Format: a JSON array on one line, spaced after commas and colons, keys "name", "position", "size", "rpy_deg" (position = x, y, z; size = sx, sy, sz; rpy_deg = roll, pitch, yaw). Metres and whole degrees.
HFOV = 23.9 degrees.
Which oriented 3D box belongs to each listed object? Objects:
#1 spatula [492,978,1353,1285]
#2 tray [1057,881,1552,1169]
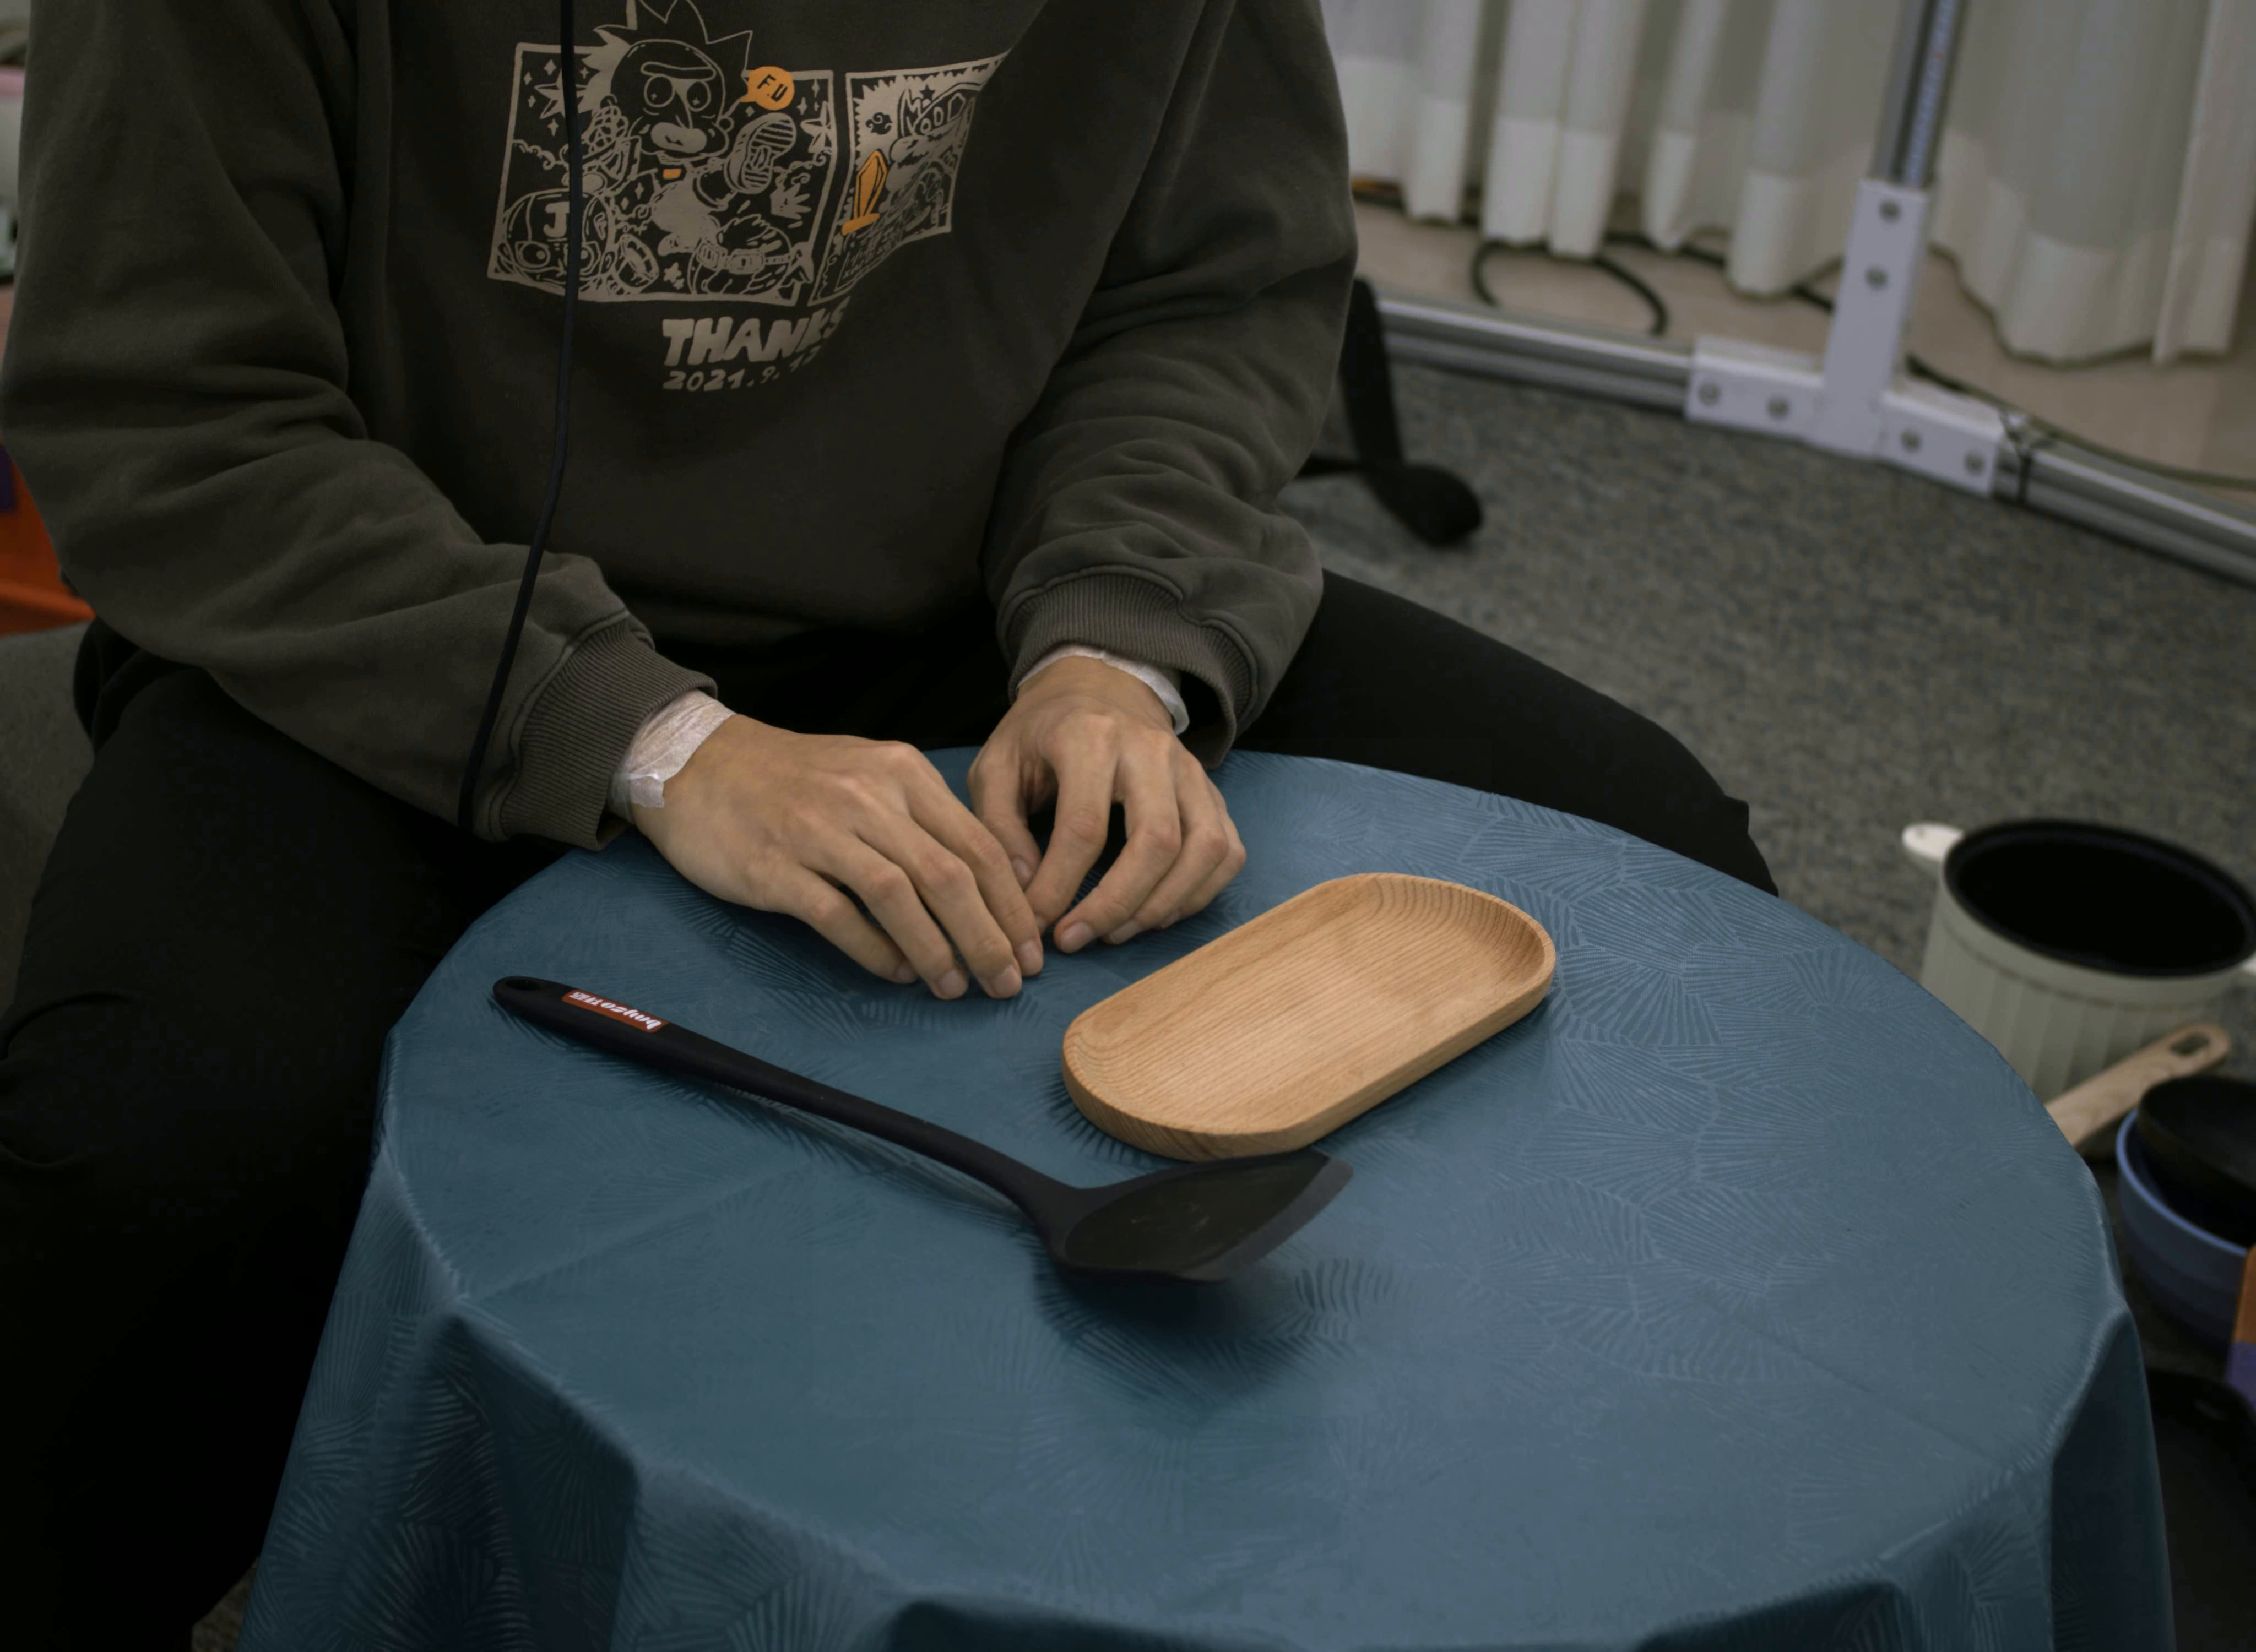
[{"name": "spatula", "position": [-0.083, 0.095, 1.801], "size": [0.328, 0.040, 0.099], "rpy_deg": [20, 29, 26]}, {"name": "tray", "position": [0.065, 0.070, 1.908], "size": [0.102, 0.020, 0.230], "rpy_deg": [23, 32, 31]}]
